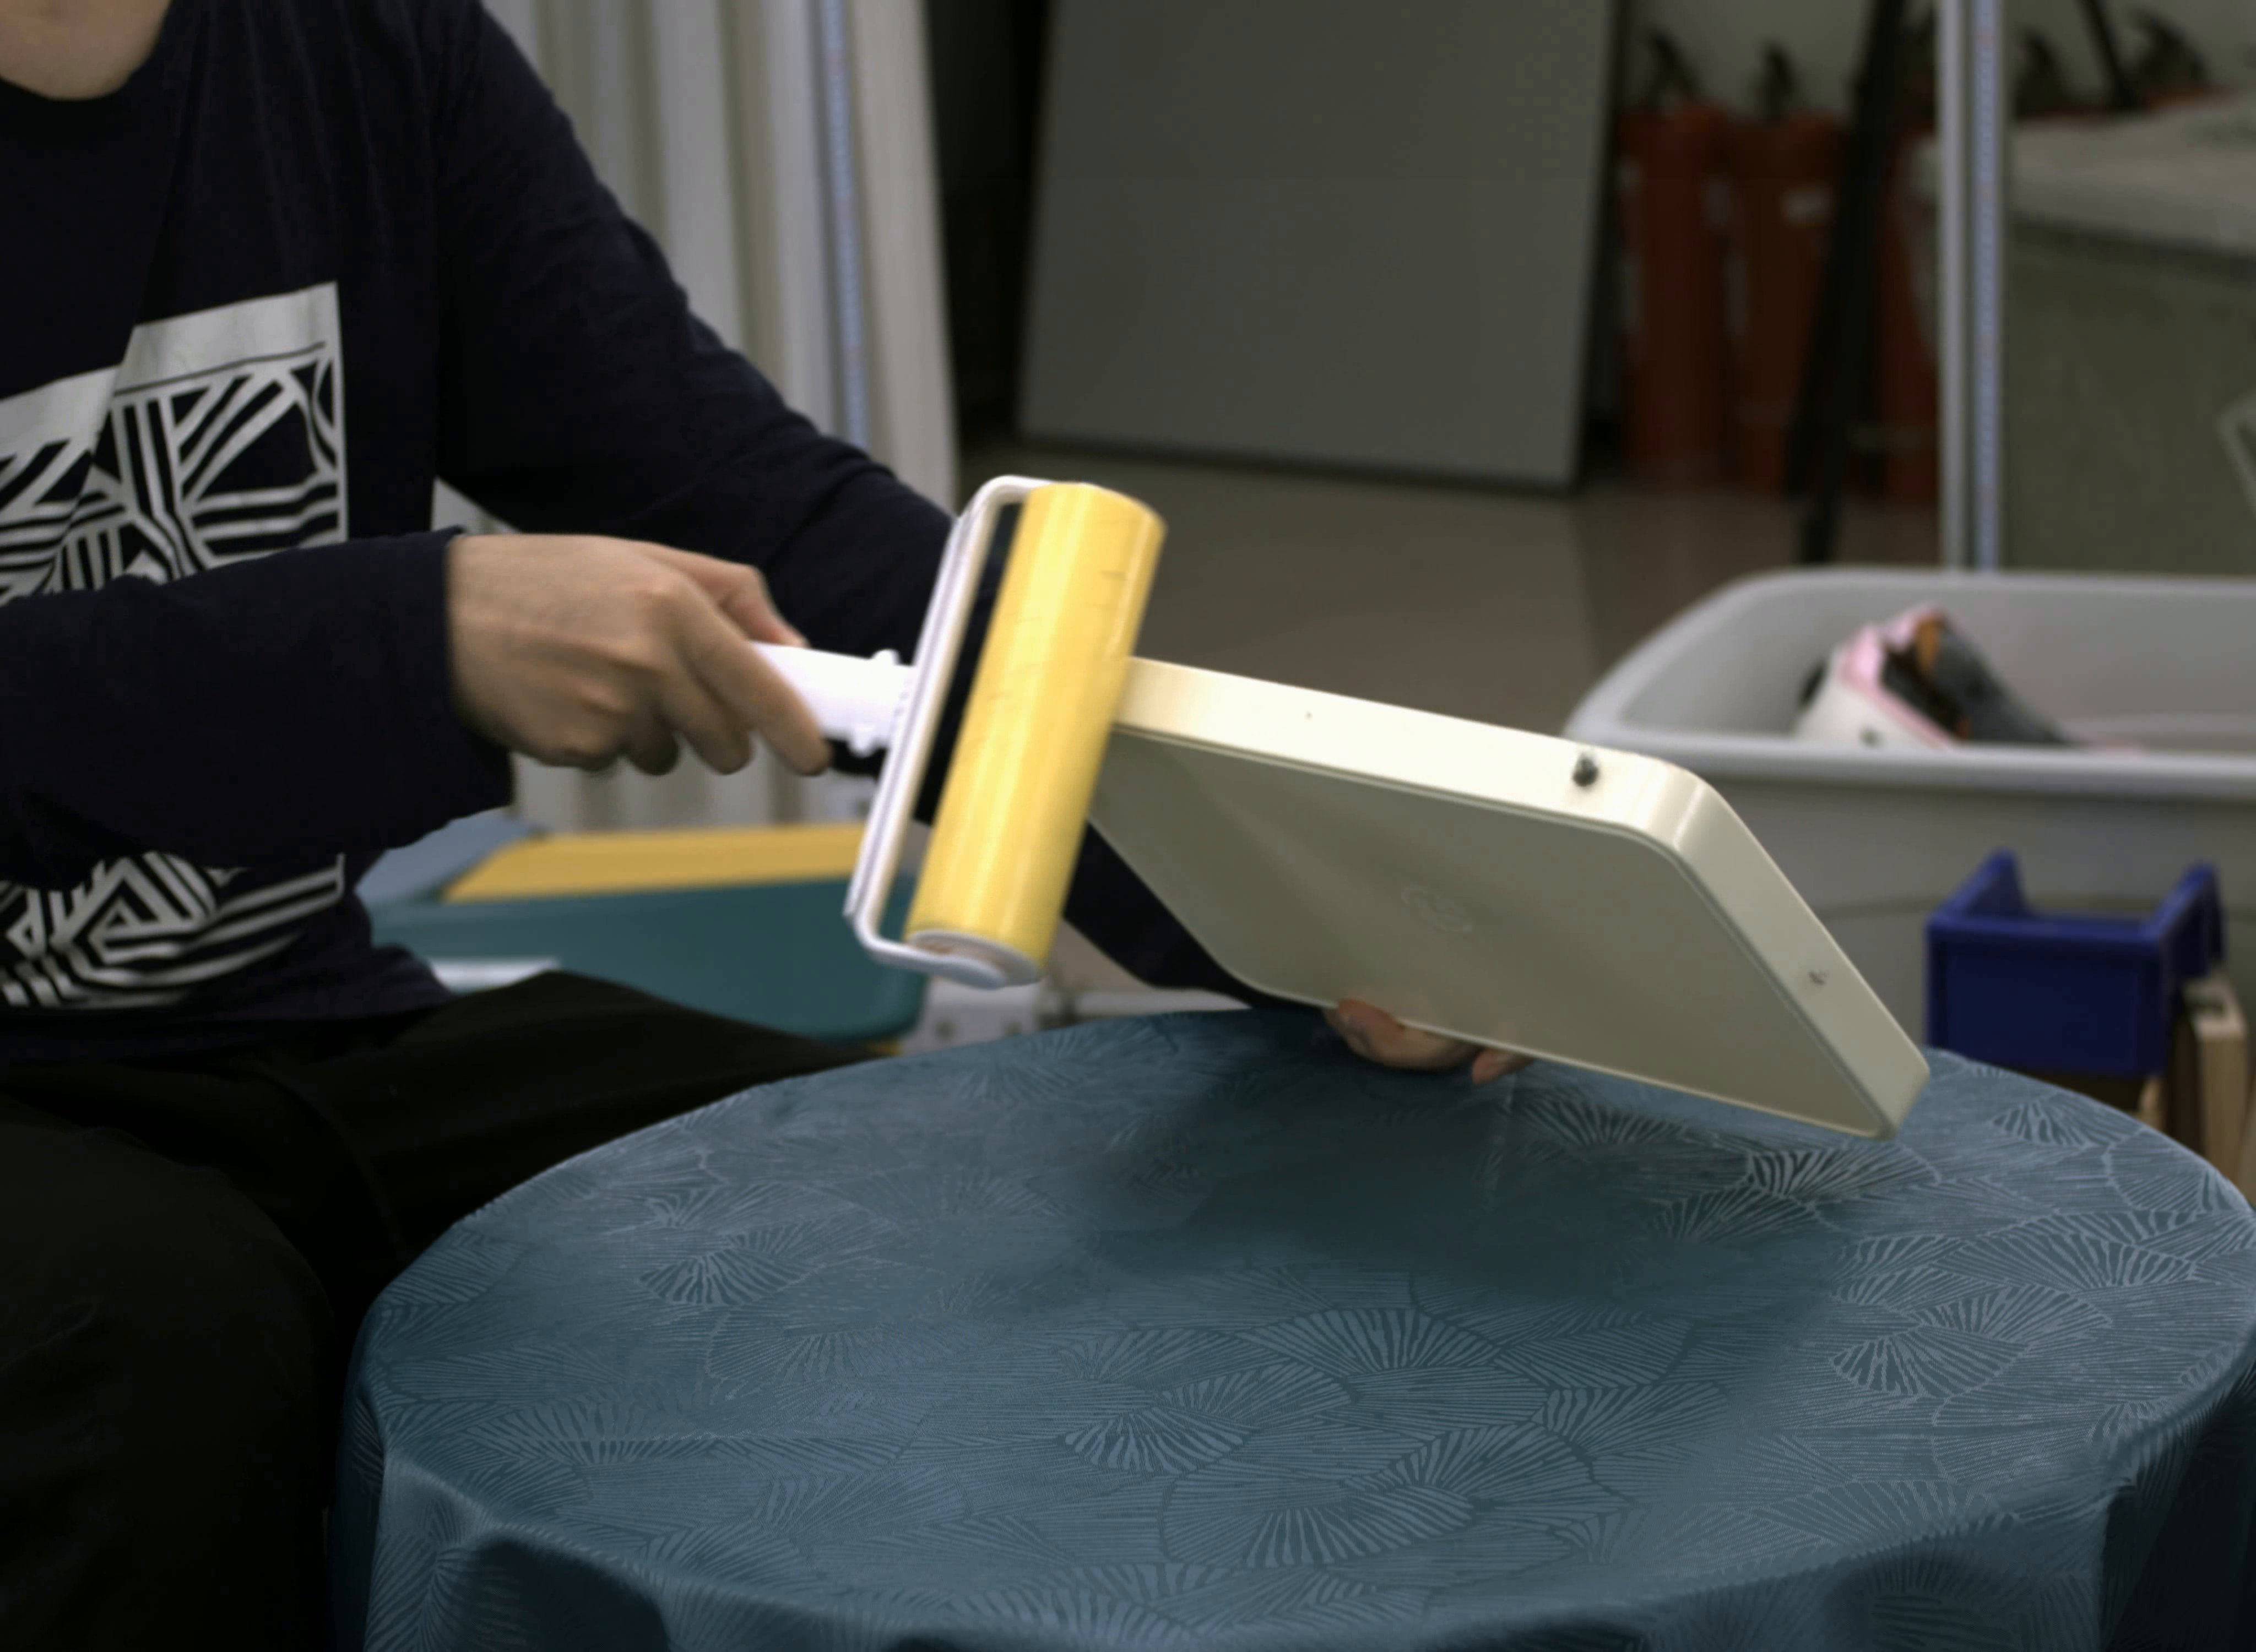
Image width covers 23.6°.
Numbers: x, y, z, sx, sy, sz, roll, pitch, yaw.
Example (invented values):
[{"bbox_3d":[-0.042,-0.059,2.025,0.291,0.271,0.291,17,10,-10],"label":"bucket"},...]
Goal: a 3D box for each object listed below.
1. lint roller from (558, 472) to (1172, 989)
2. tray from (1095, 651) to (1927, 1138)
[{"bbox_3d":[-0.094,-0.045,1.758,0.190,0.176,0.051,12,-21,6],"label":"lint roller"},{"bbox_3d":[0.105,0.019,1.769,0.303,0.189,0.027,11,61,44],"label":"tray"}]
